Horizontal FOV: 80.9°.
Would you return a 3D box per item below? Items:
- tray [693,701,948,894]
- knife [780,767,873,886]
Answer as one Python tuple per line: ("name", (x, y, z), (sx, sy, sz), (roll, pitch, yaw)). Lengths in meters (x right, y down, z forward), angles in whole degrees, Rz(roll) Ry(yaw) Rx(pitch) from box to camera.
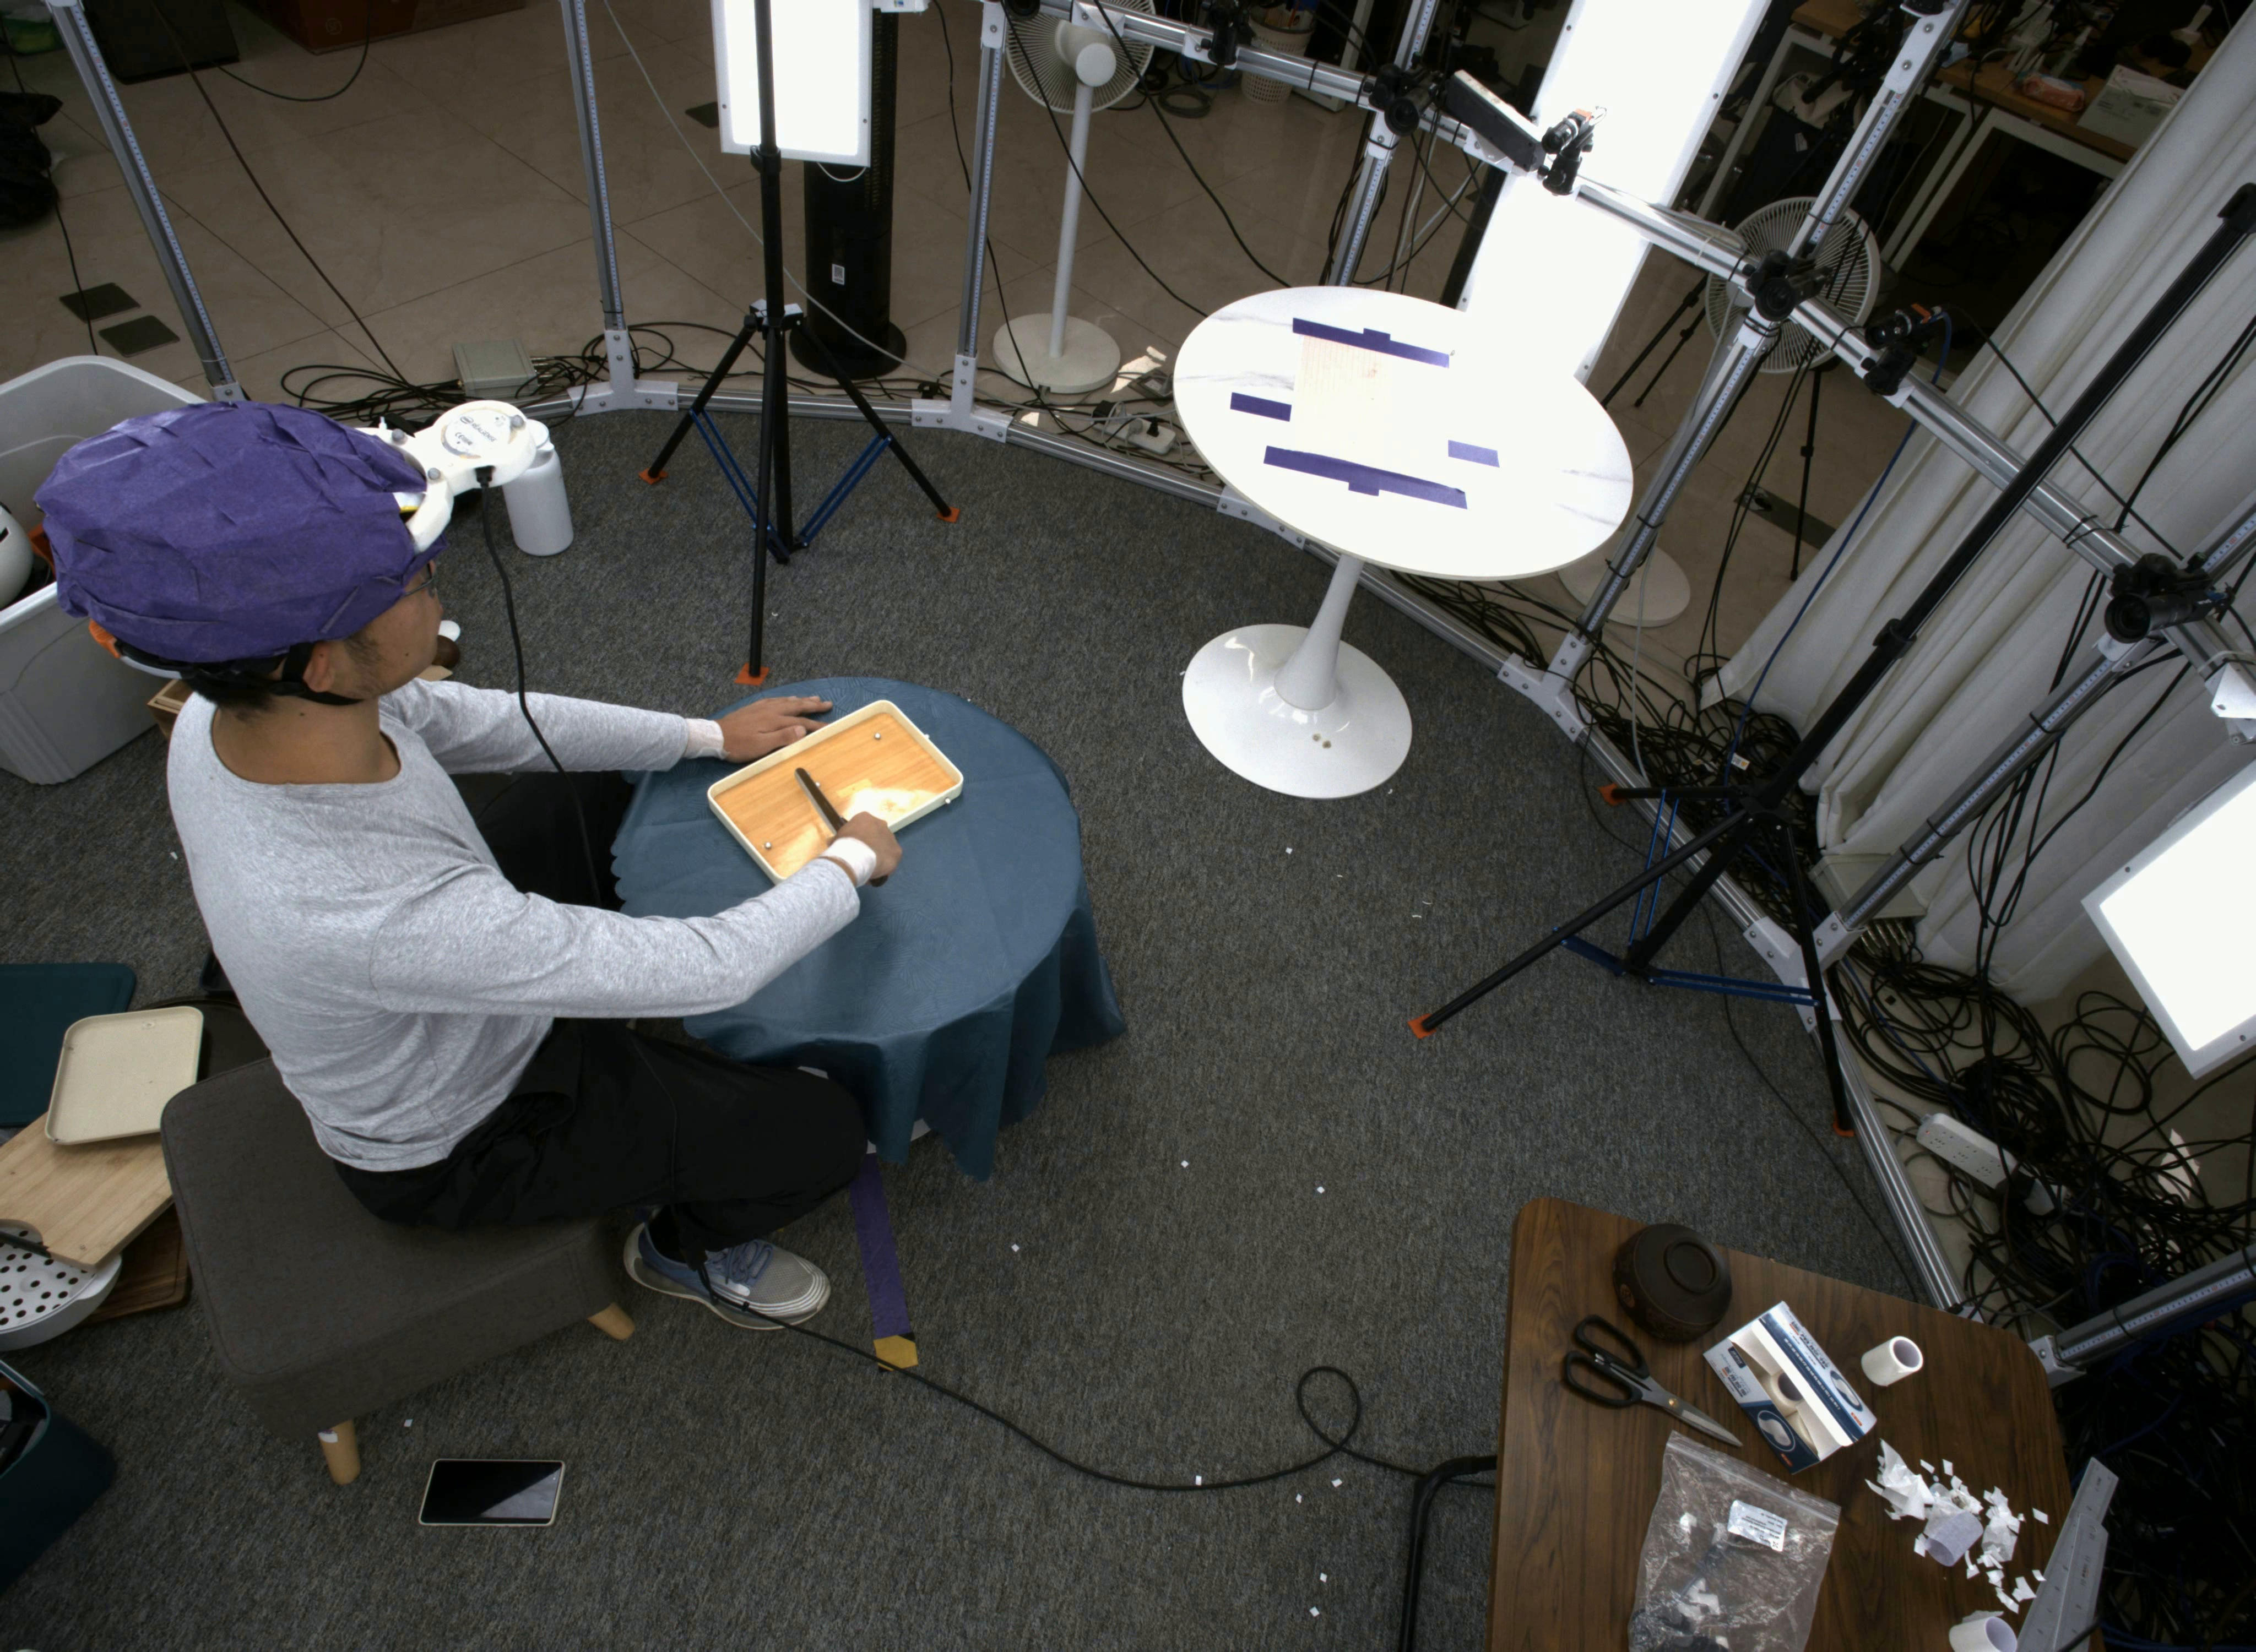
("tray", (-0.413, -0.046, 1.756), (0.301, 0.028, 0.187), (-34, 68, -32))
("knife", (-0.396, -0.004, 1.670), (0.020, 0.052, 0.278), (-18, 40, -30))
